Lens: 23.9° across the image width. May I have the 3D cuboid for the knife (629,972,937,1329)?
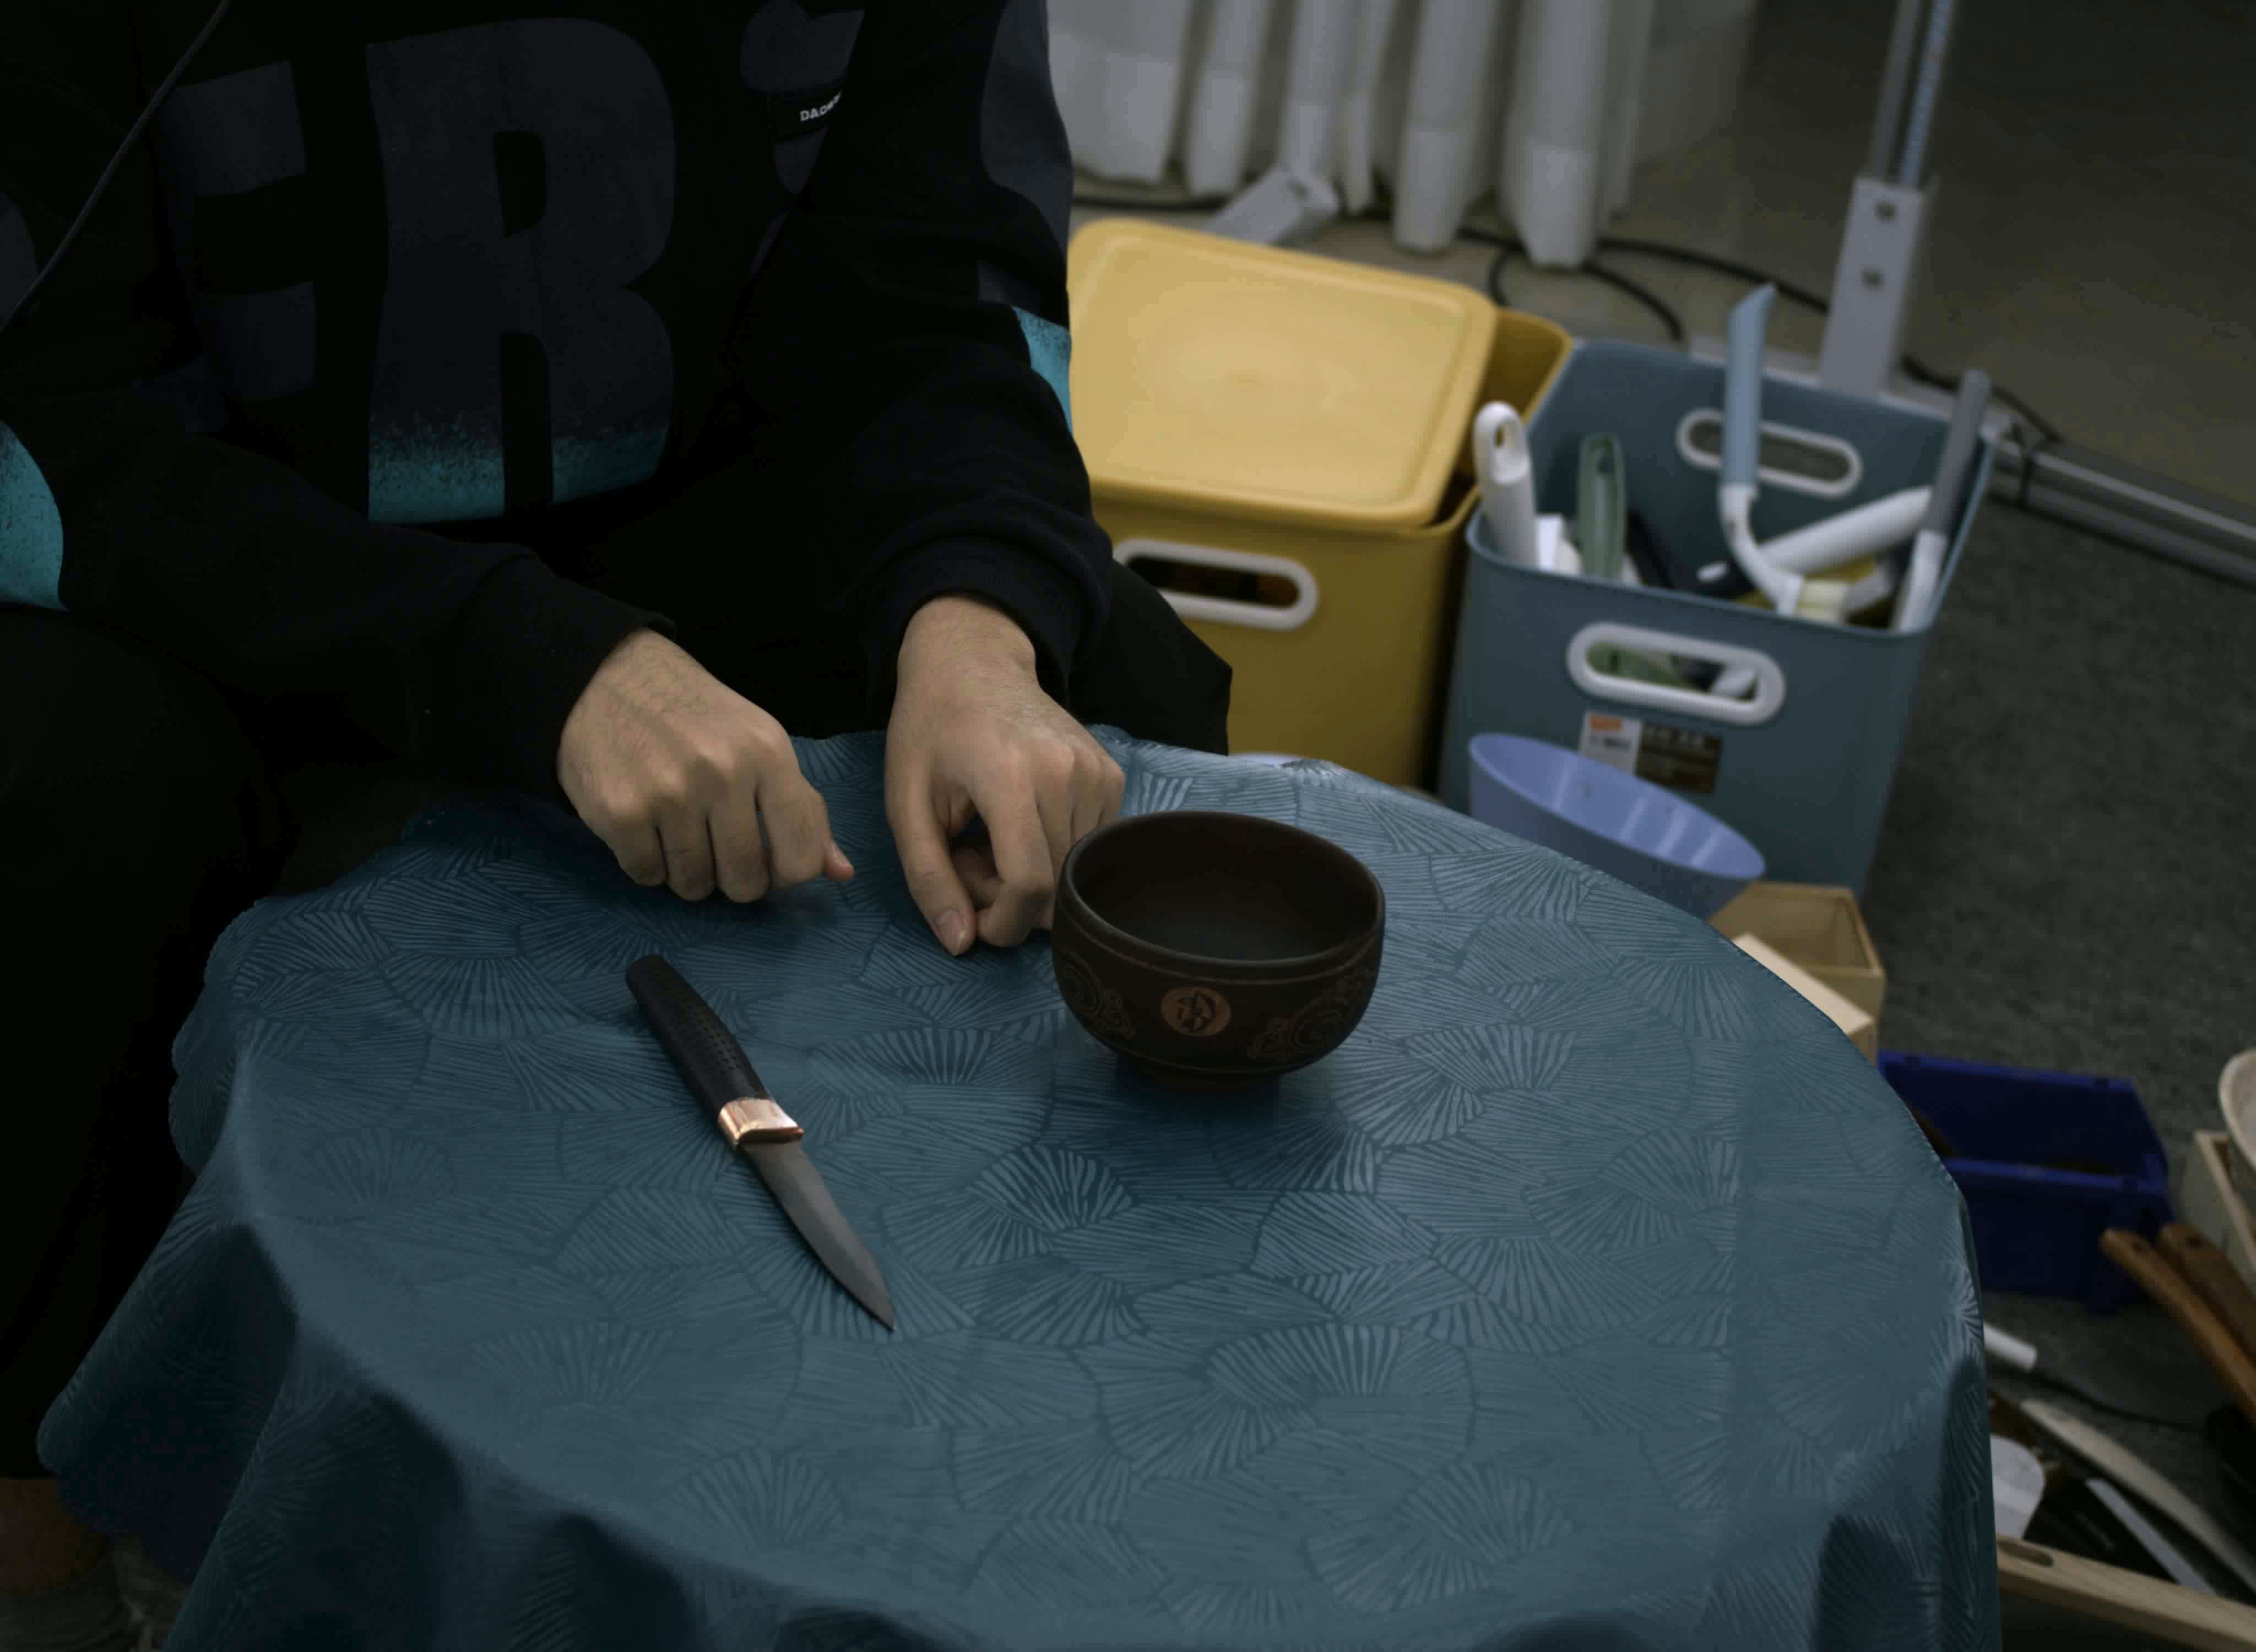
[{"bbox_3d":[-0.119,0.108,1.795,0.026,0.017,0.227,0,28,-30],"label":"knife"}]

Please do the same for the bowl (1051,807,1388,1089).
[{"bbox_3d":[0.030,0.049,1.873,0.117,0.069,0.119,6,25,-3],"label":"bowl"}]
